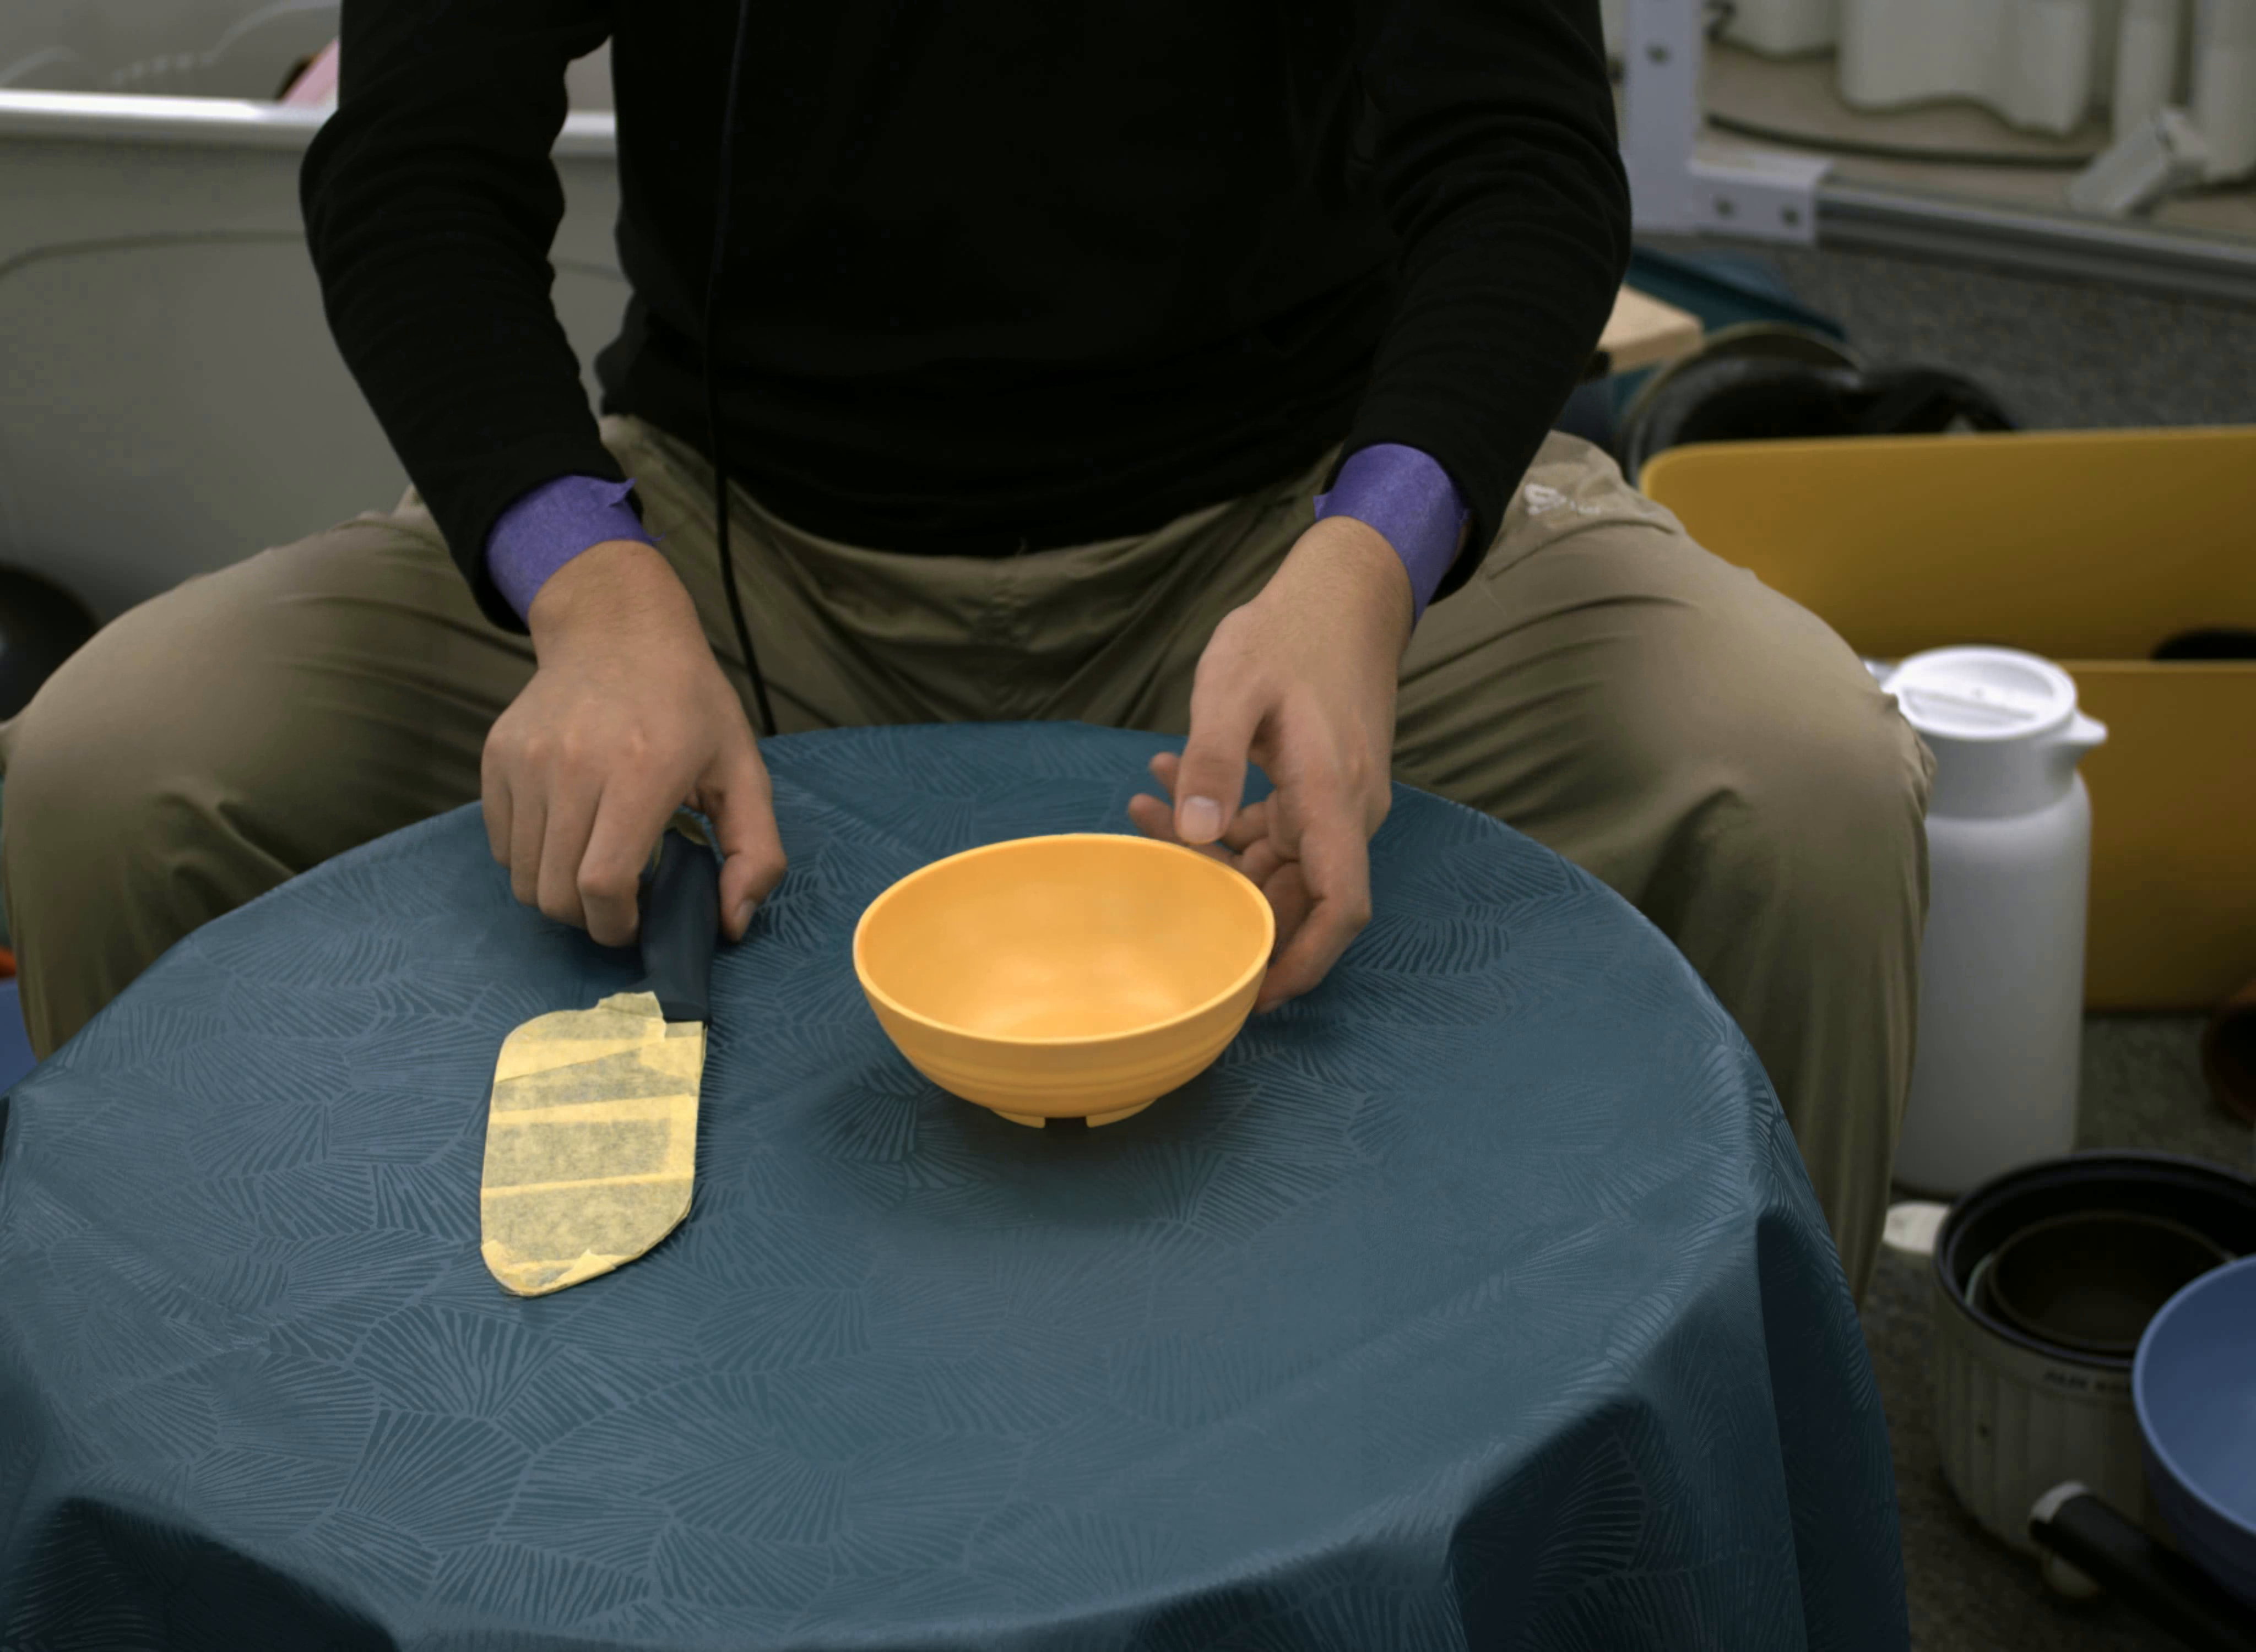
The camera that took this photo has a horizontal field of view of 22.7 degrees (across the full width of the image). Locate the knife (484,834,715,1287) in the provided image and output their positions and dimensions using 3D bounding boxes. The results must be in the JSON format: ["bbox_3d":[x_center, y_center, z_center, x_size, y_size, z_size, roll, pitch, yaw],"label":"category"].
[{"bbox_3d":[-0.180,0.080,1.943,0.080,0.027,0.294,-1,28,2],"label":"knife"}]

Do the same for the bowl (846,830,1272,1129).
[{"bbox_3d":[-0.023,0.061,1.915,0.144,0.059,0.147,0,28,0],"label":"bowl"}]
